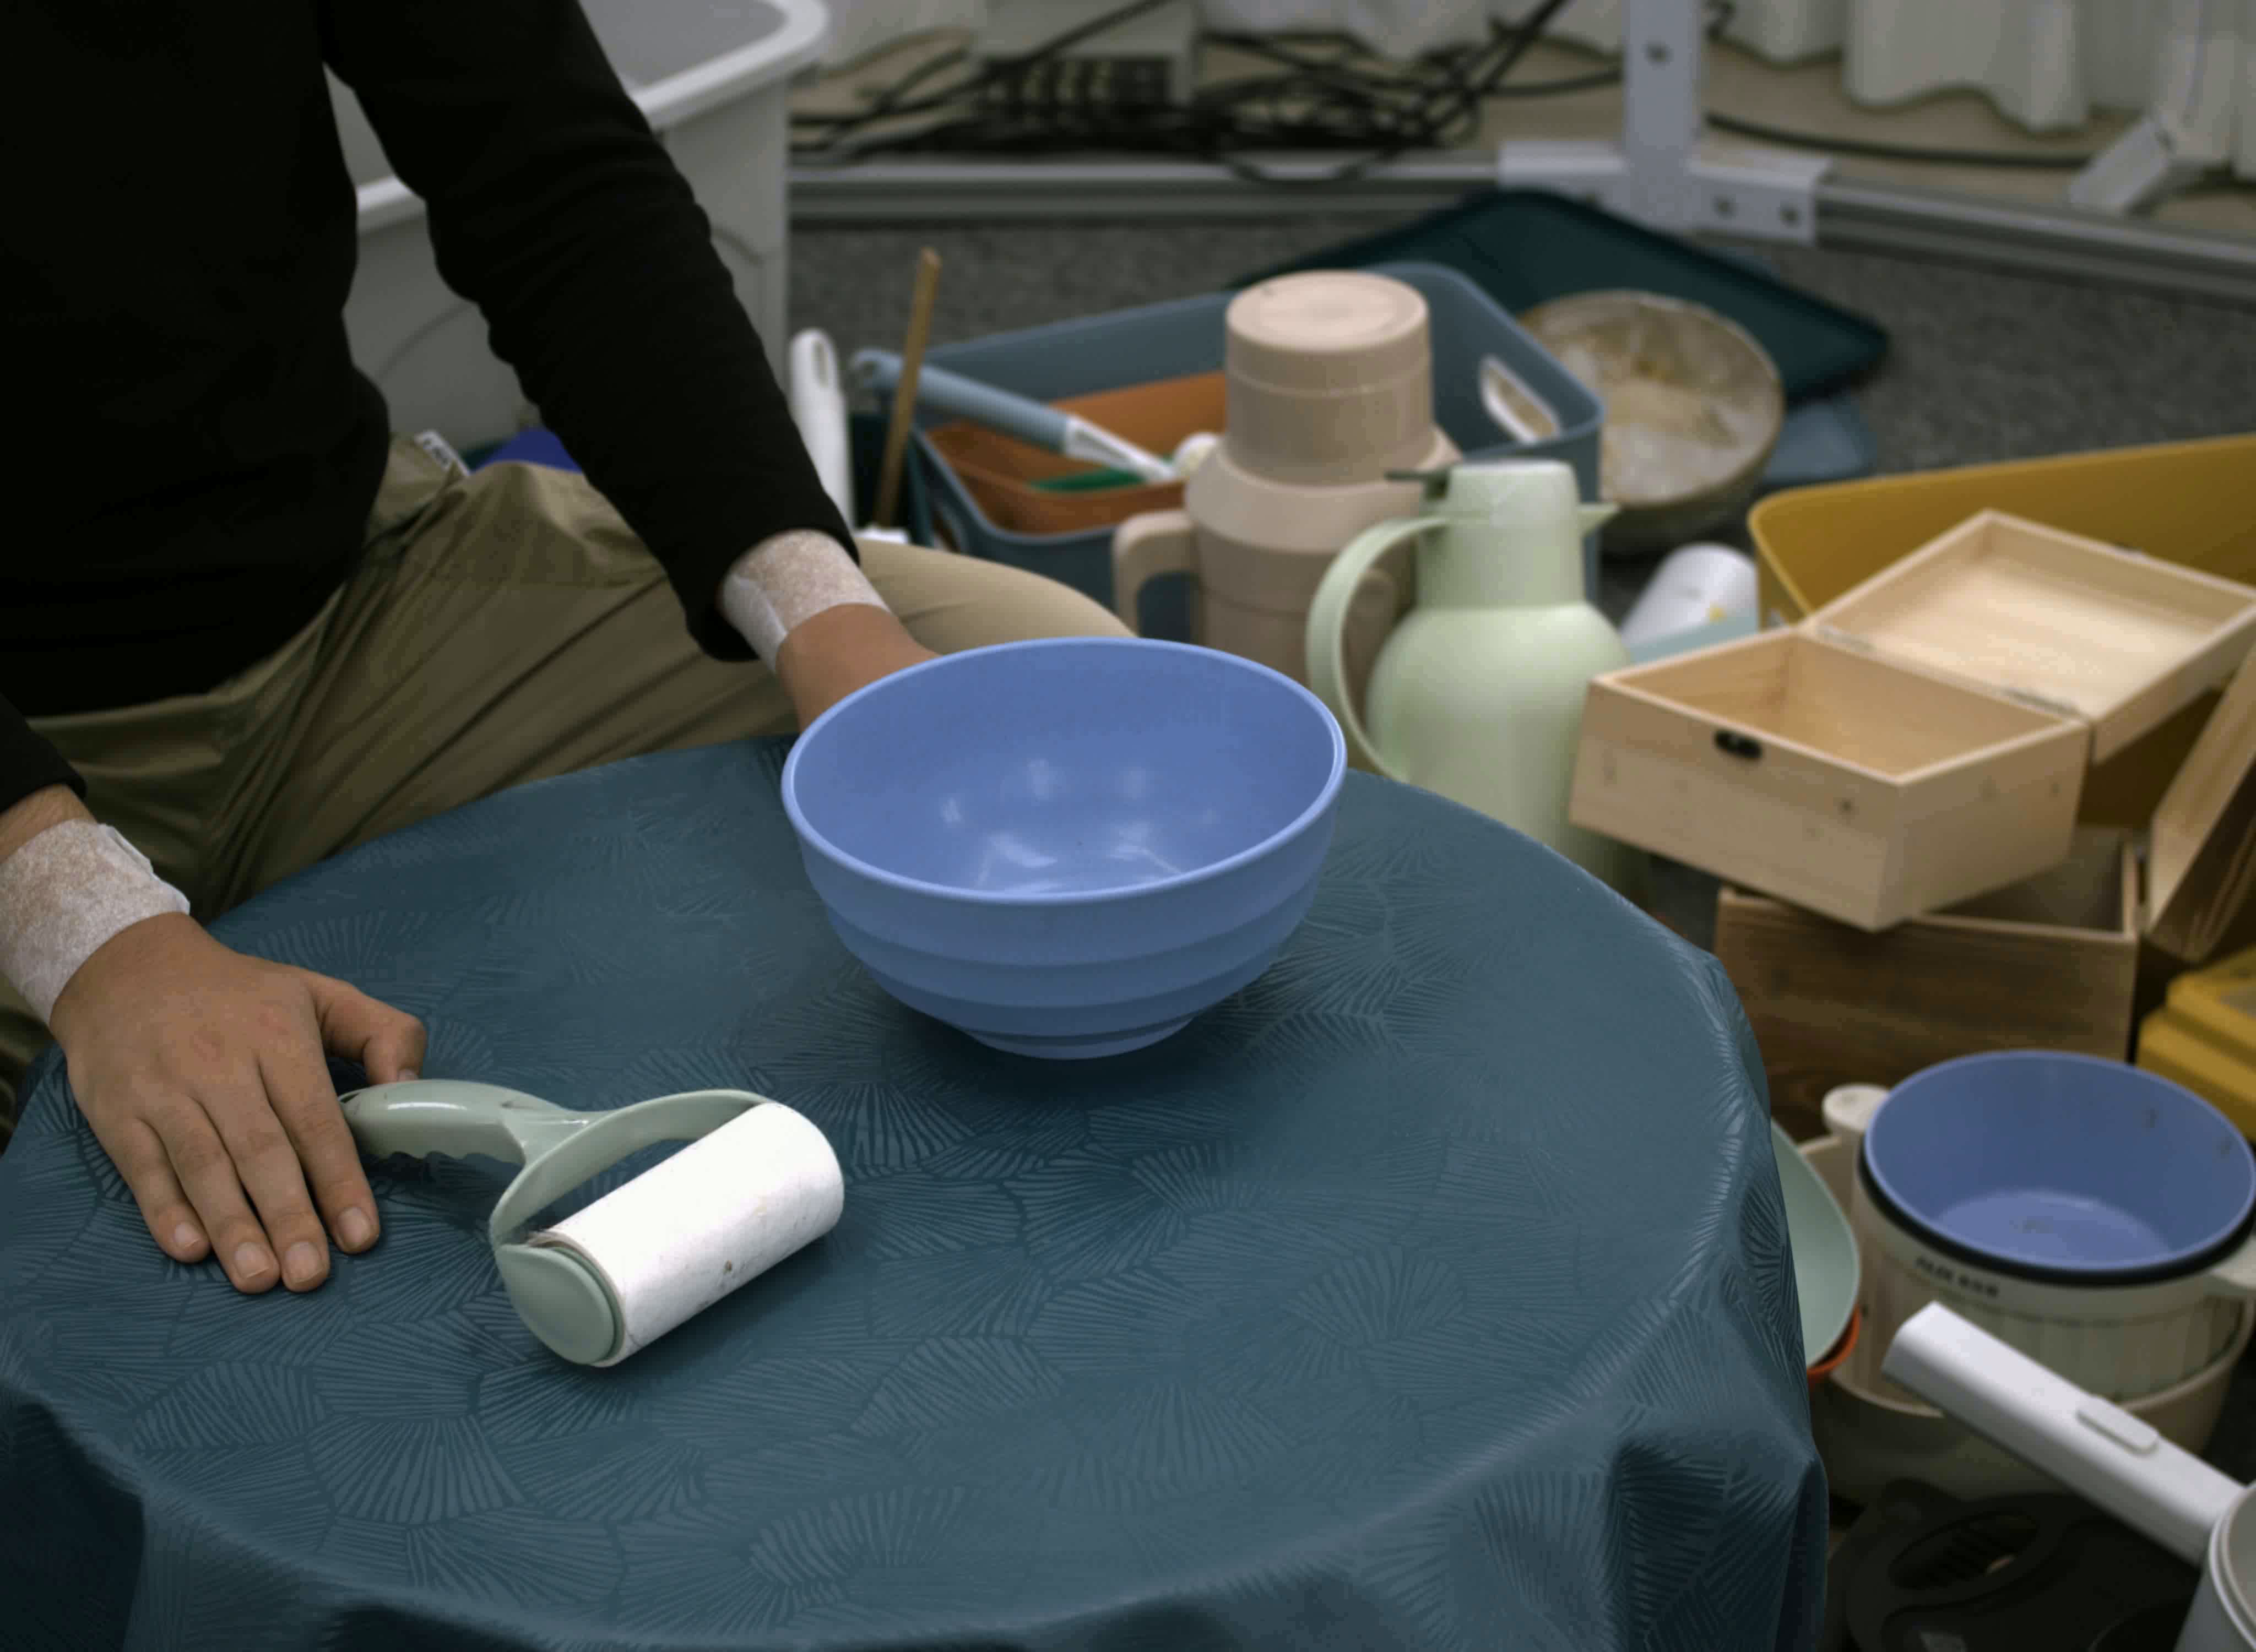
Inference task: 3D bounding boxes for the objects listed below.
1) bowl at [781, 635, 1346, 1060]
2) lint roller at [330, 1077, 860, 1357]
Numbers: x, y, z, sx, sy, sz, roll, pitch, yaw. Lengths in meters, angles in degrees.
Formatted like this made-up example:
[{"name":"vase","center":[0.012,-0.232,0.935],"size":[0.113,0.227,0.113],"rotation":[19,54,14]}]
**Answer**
[{"name":"bowl","center":[-0.019,0.018,1.960],"size":[0.195,0.094,0.199],"rotation":[-3,28,2]},{"name":"lint roller","center":[-0.192,0.110,1.854],"size":[0.197,0.048,0.118],"rotation":[18,36,37]}]
